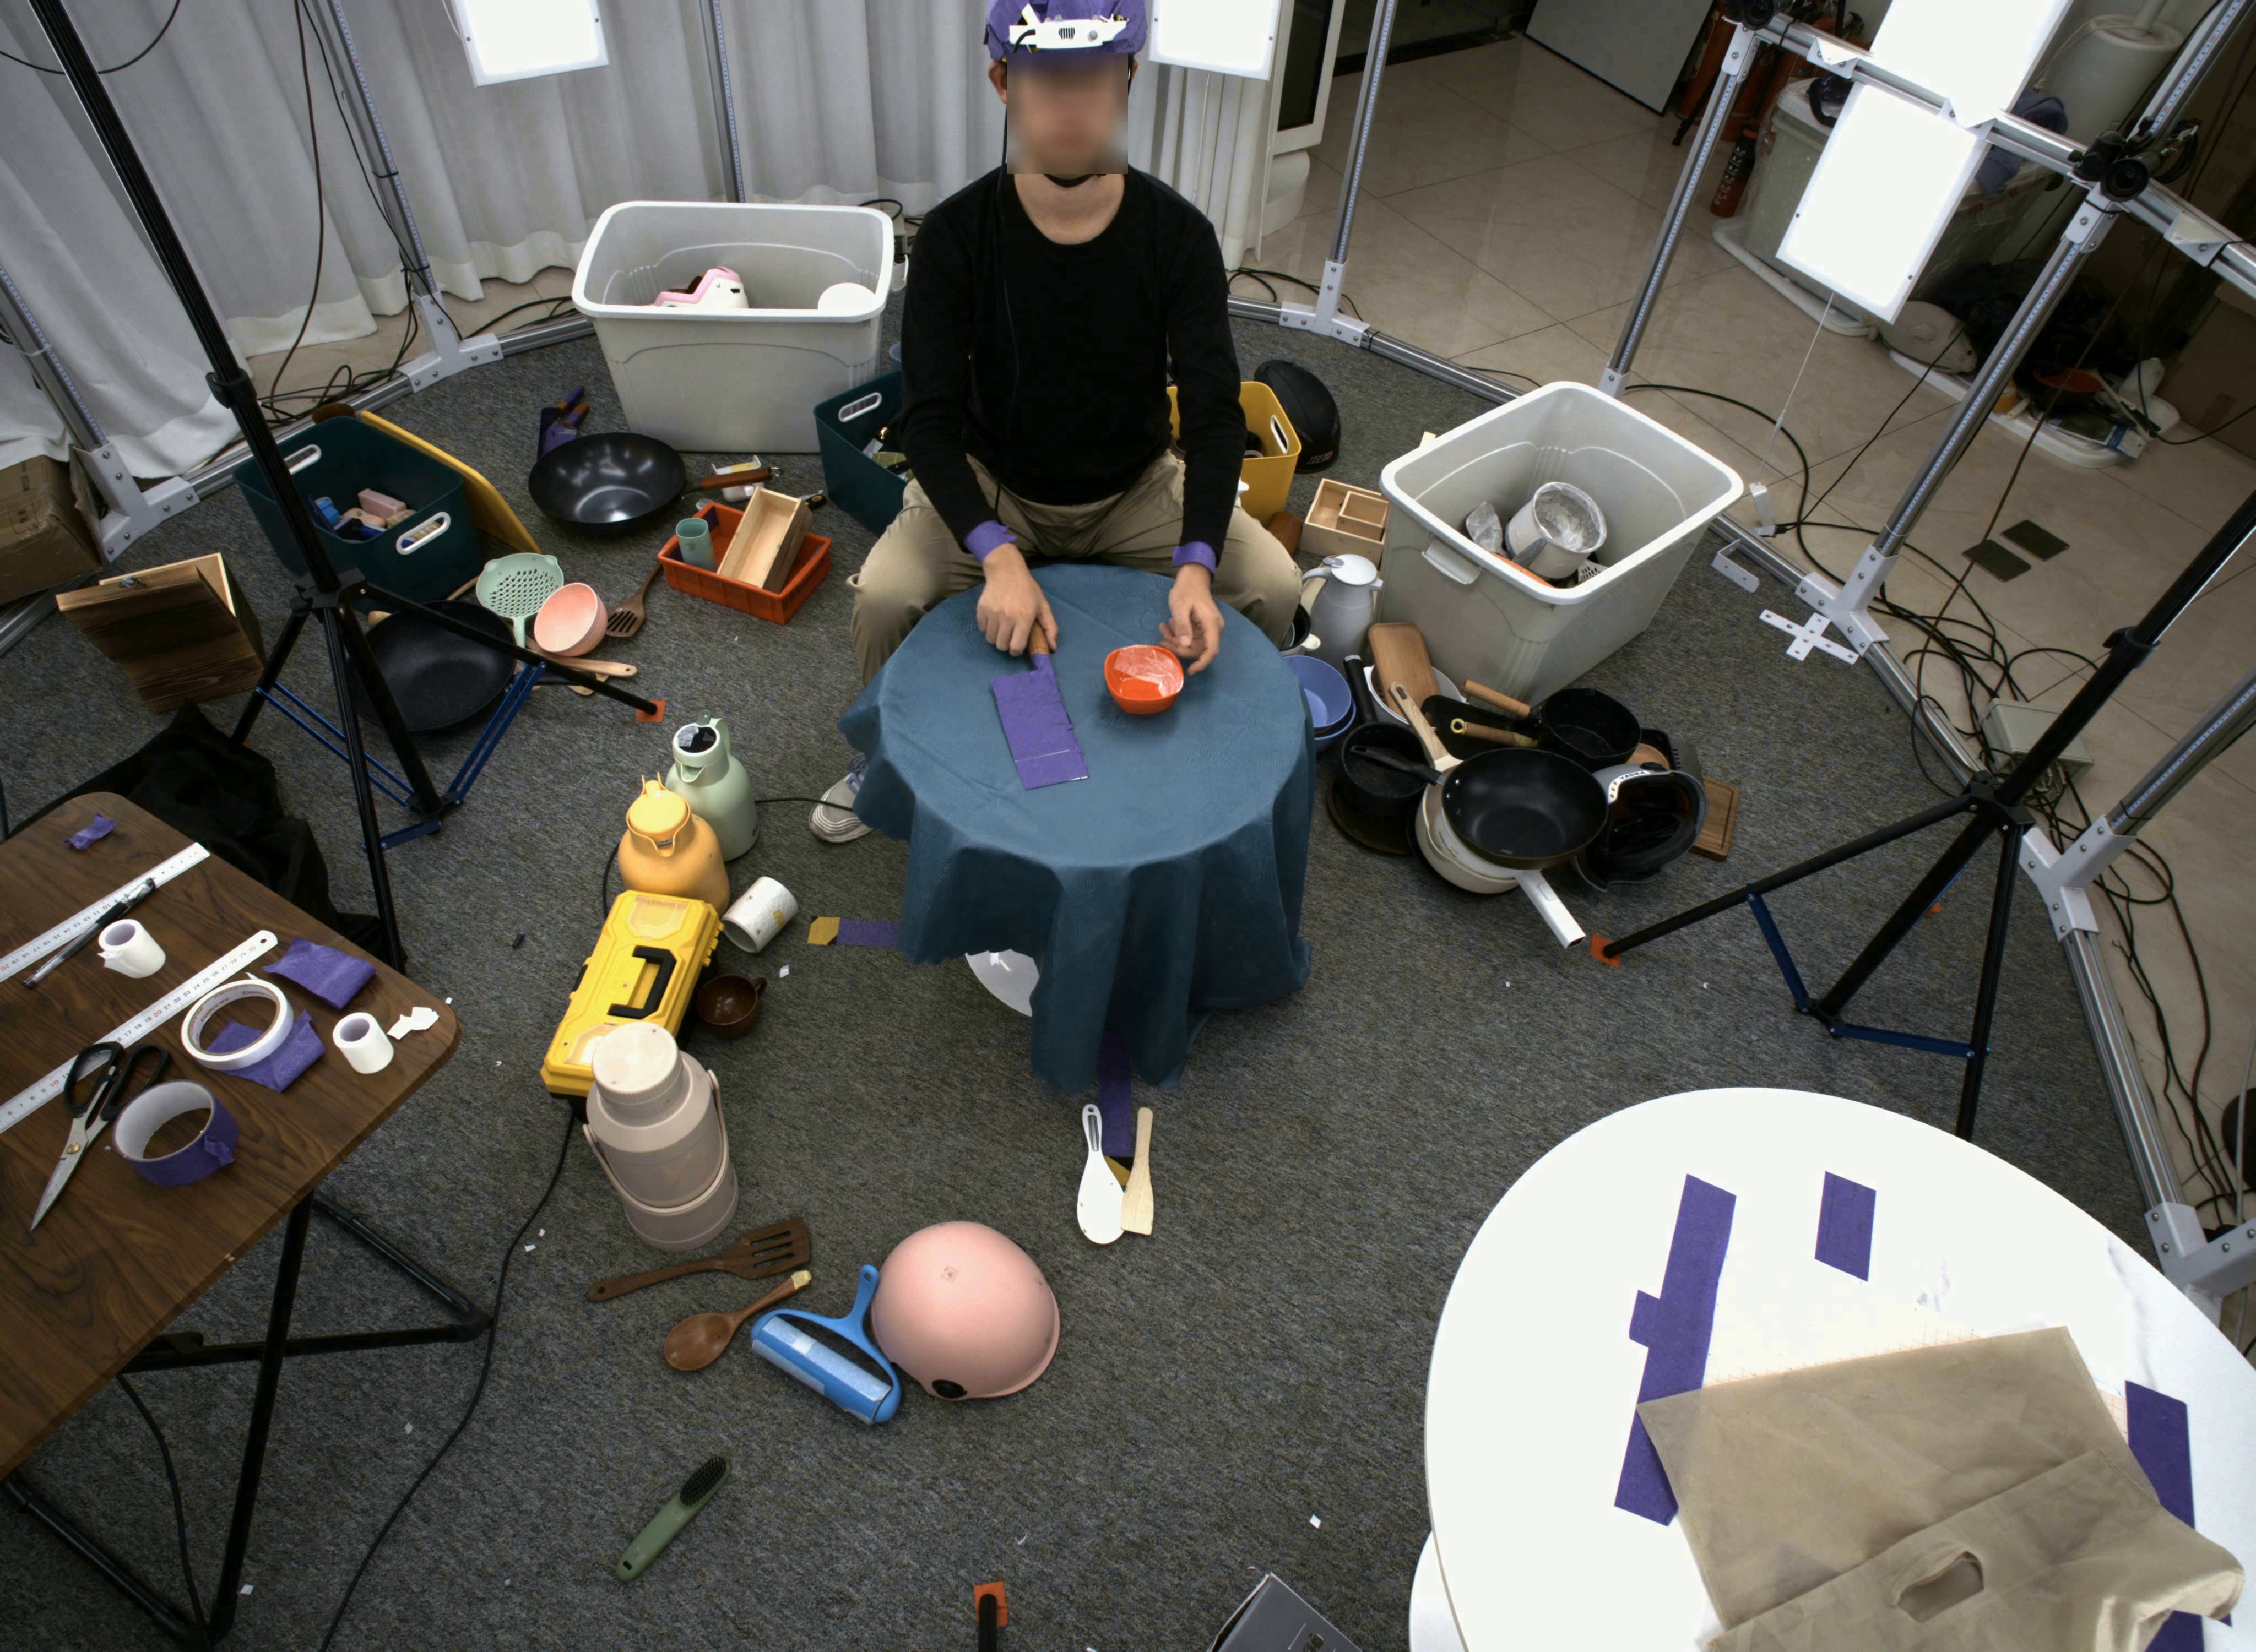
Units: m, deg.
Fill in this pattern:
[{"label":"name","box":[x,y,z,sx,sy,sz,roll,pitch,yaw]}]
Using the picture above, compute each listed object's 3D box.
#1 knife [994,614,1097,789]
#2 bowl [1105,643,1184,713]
[{"label":"knife","box":[-0.134,-0.180,1.800,0.104,0.031,0.323,-11,51,-13]},{"label":"bowl","box":[0.022,-0.202,1.809,0.119,0.050,0.122,1,52,-2]}]
